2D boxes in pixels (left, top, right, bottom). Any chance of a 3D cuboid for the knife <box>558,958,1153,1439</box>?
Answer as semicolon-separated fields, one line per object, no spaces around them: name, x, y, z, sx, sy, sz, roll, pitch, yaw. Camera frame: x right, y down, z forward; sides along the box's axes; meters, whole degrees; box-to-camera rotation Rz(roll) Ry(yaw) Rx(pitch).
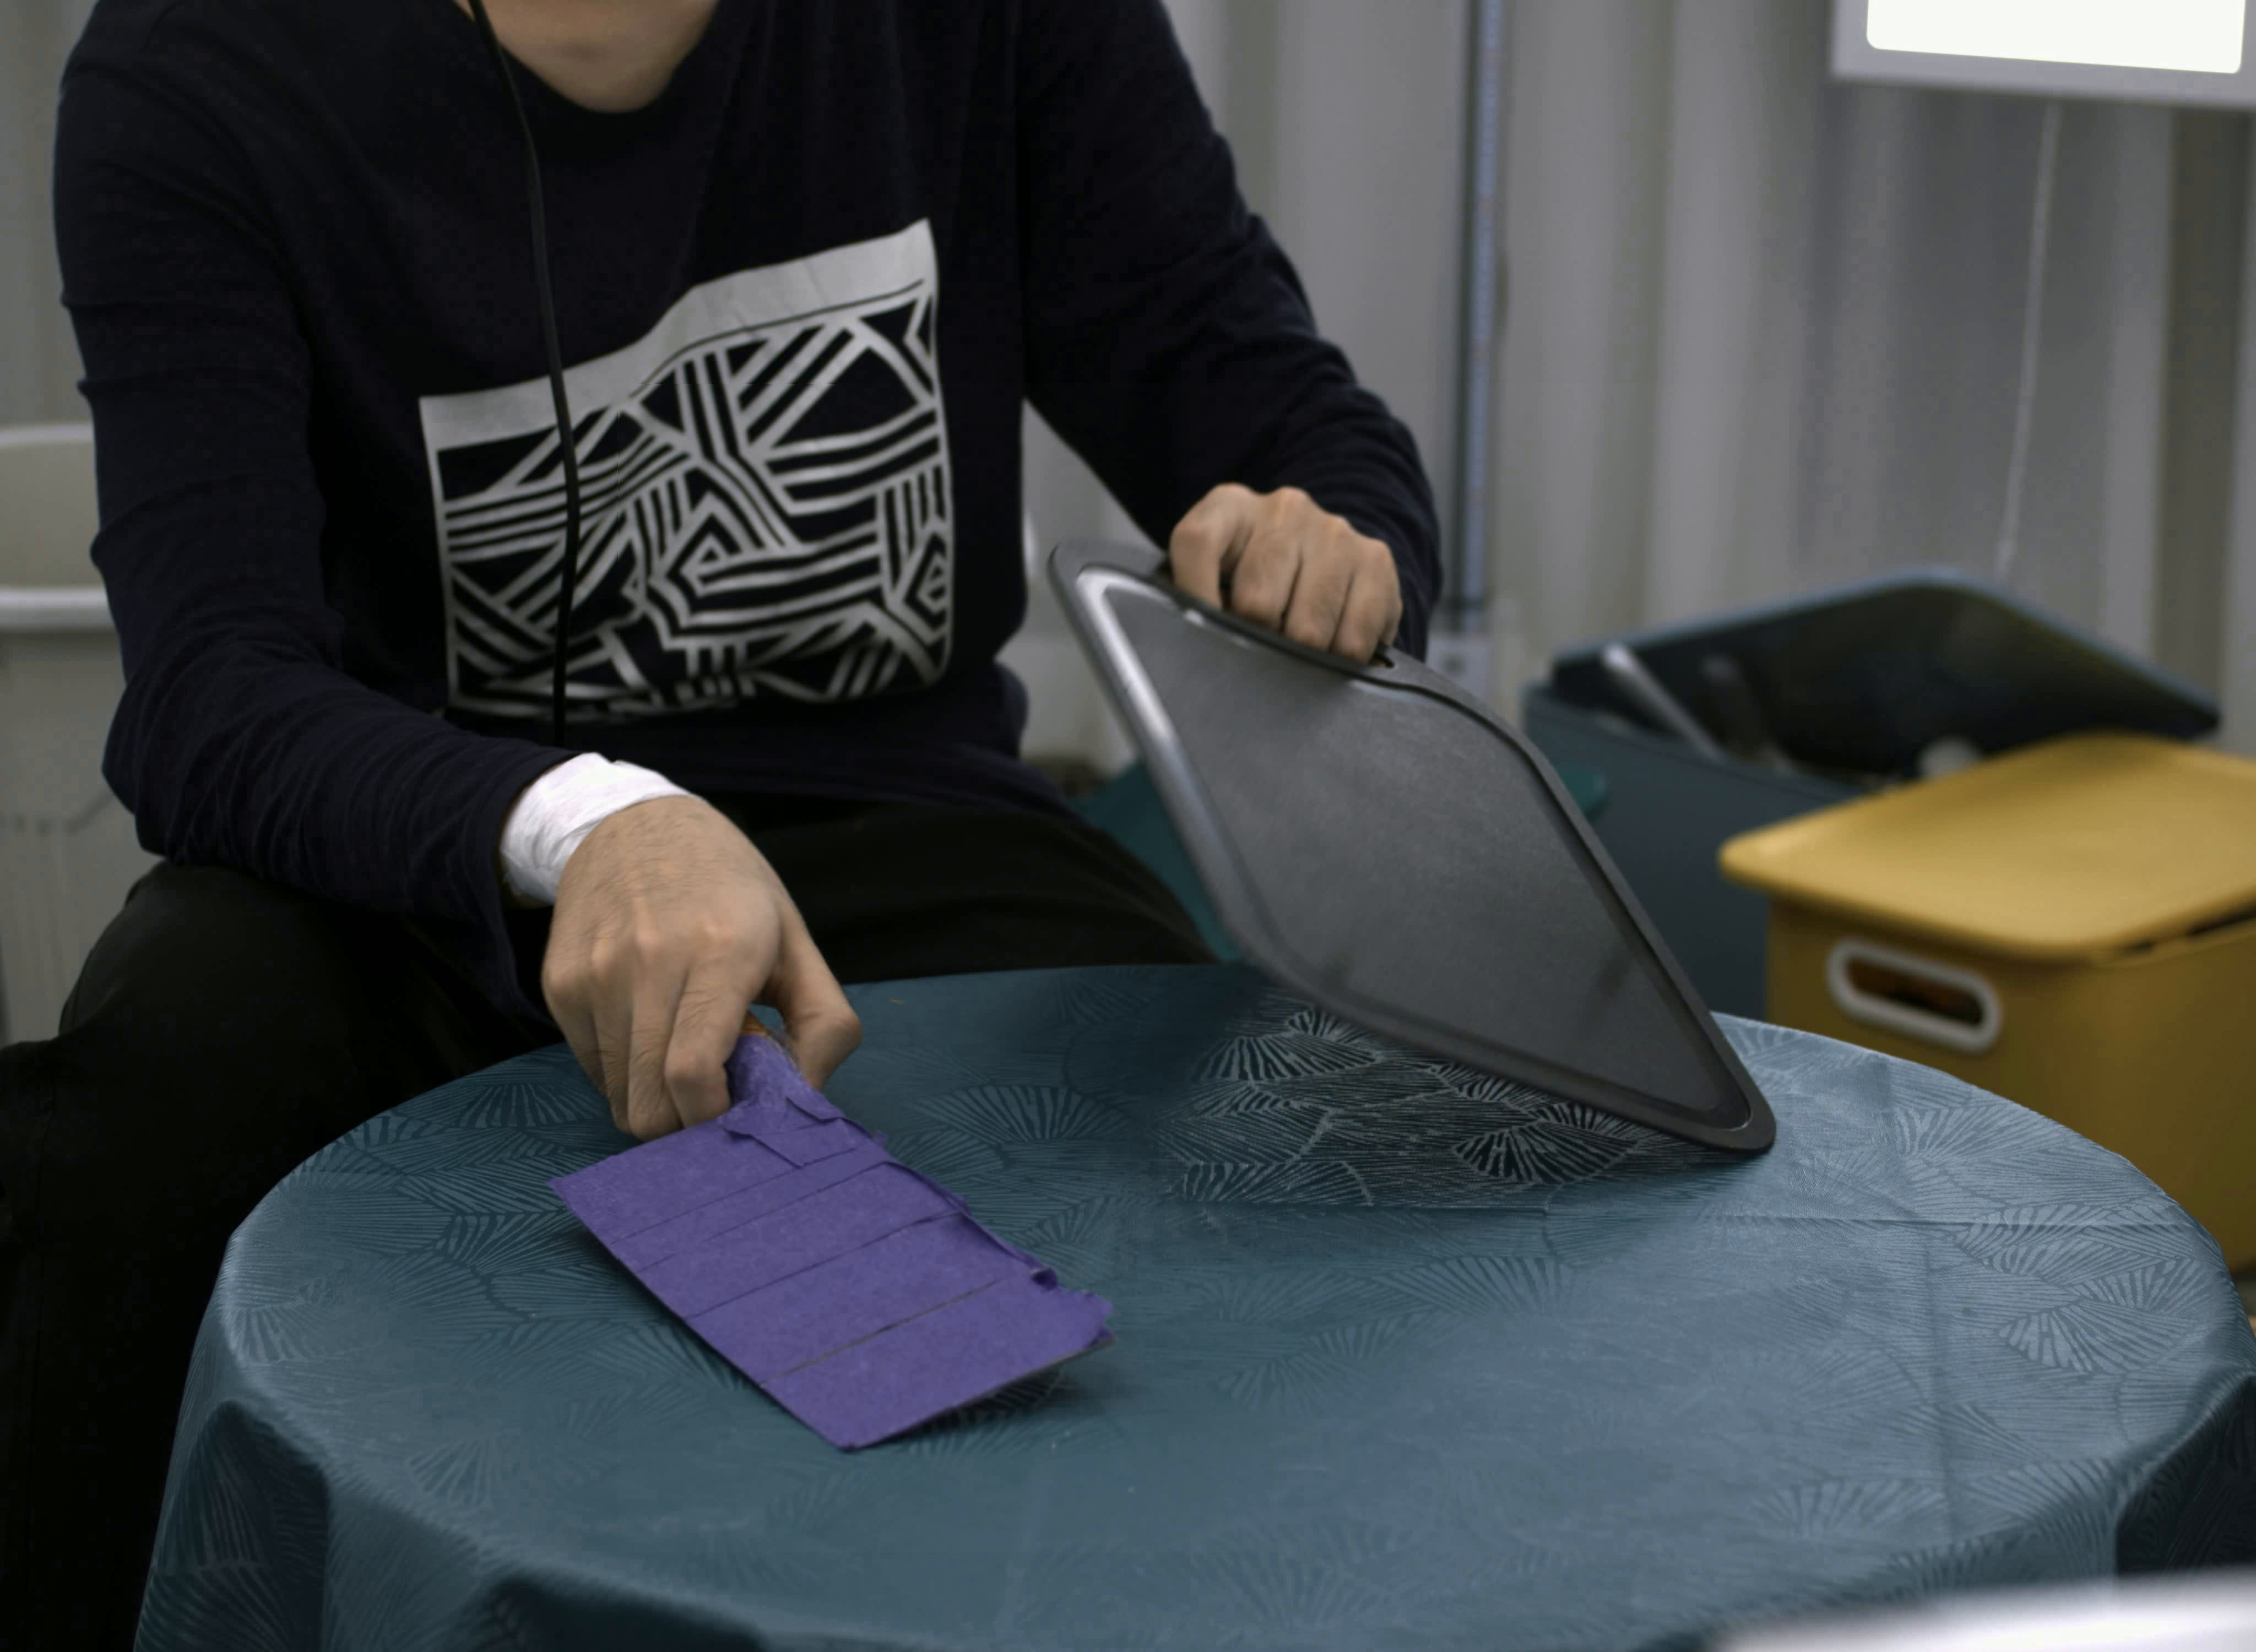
knife;-0.111;0.105;1.555;0.104;0.032;0.311;-19;24;-24

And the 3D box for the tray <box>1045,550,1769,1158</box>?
tray;0.086;-0.001;1.744;0.213;0.010;0.321;18;25;-26
